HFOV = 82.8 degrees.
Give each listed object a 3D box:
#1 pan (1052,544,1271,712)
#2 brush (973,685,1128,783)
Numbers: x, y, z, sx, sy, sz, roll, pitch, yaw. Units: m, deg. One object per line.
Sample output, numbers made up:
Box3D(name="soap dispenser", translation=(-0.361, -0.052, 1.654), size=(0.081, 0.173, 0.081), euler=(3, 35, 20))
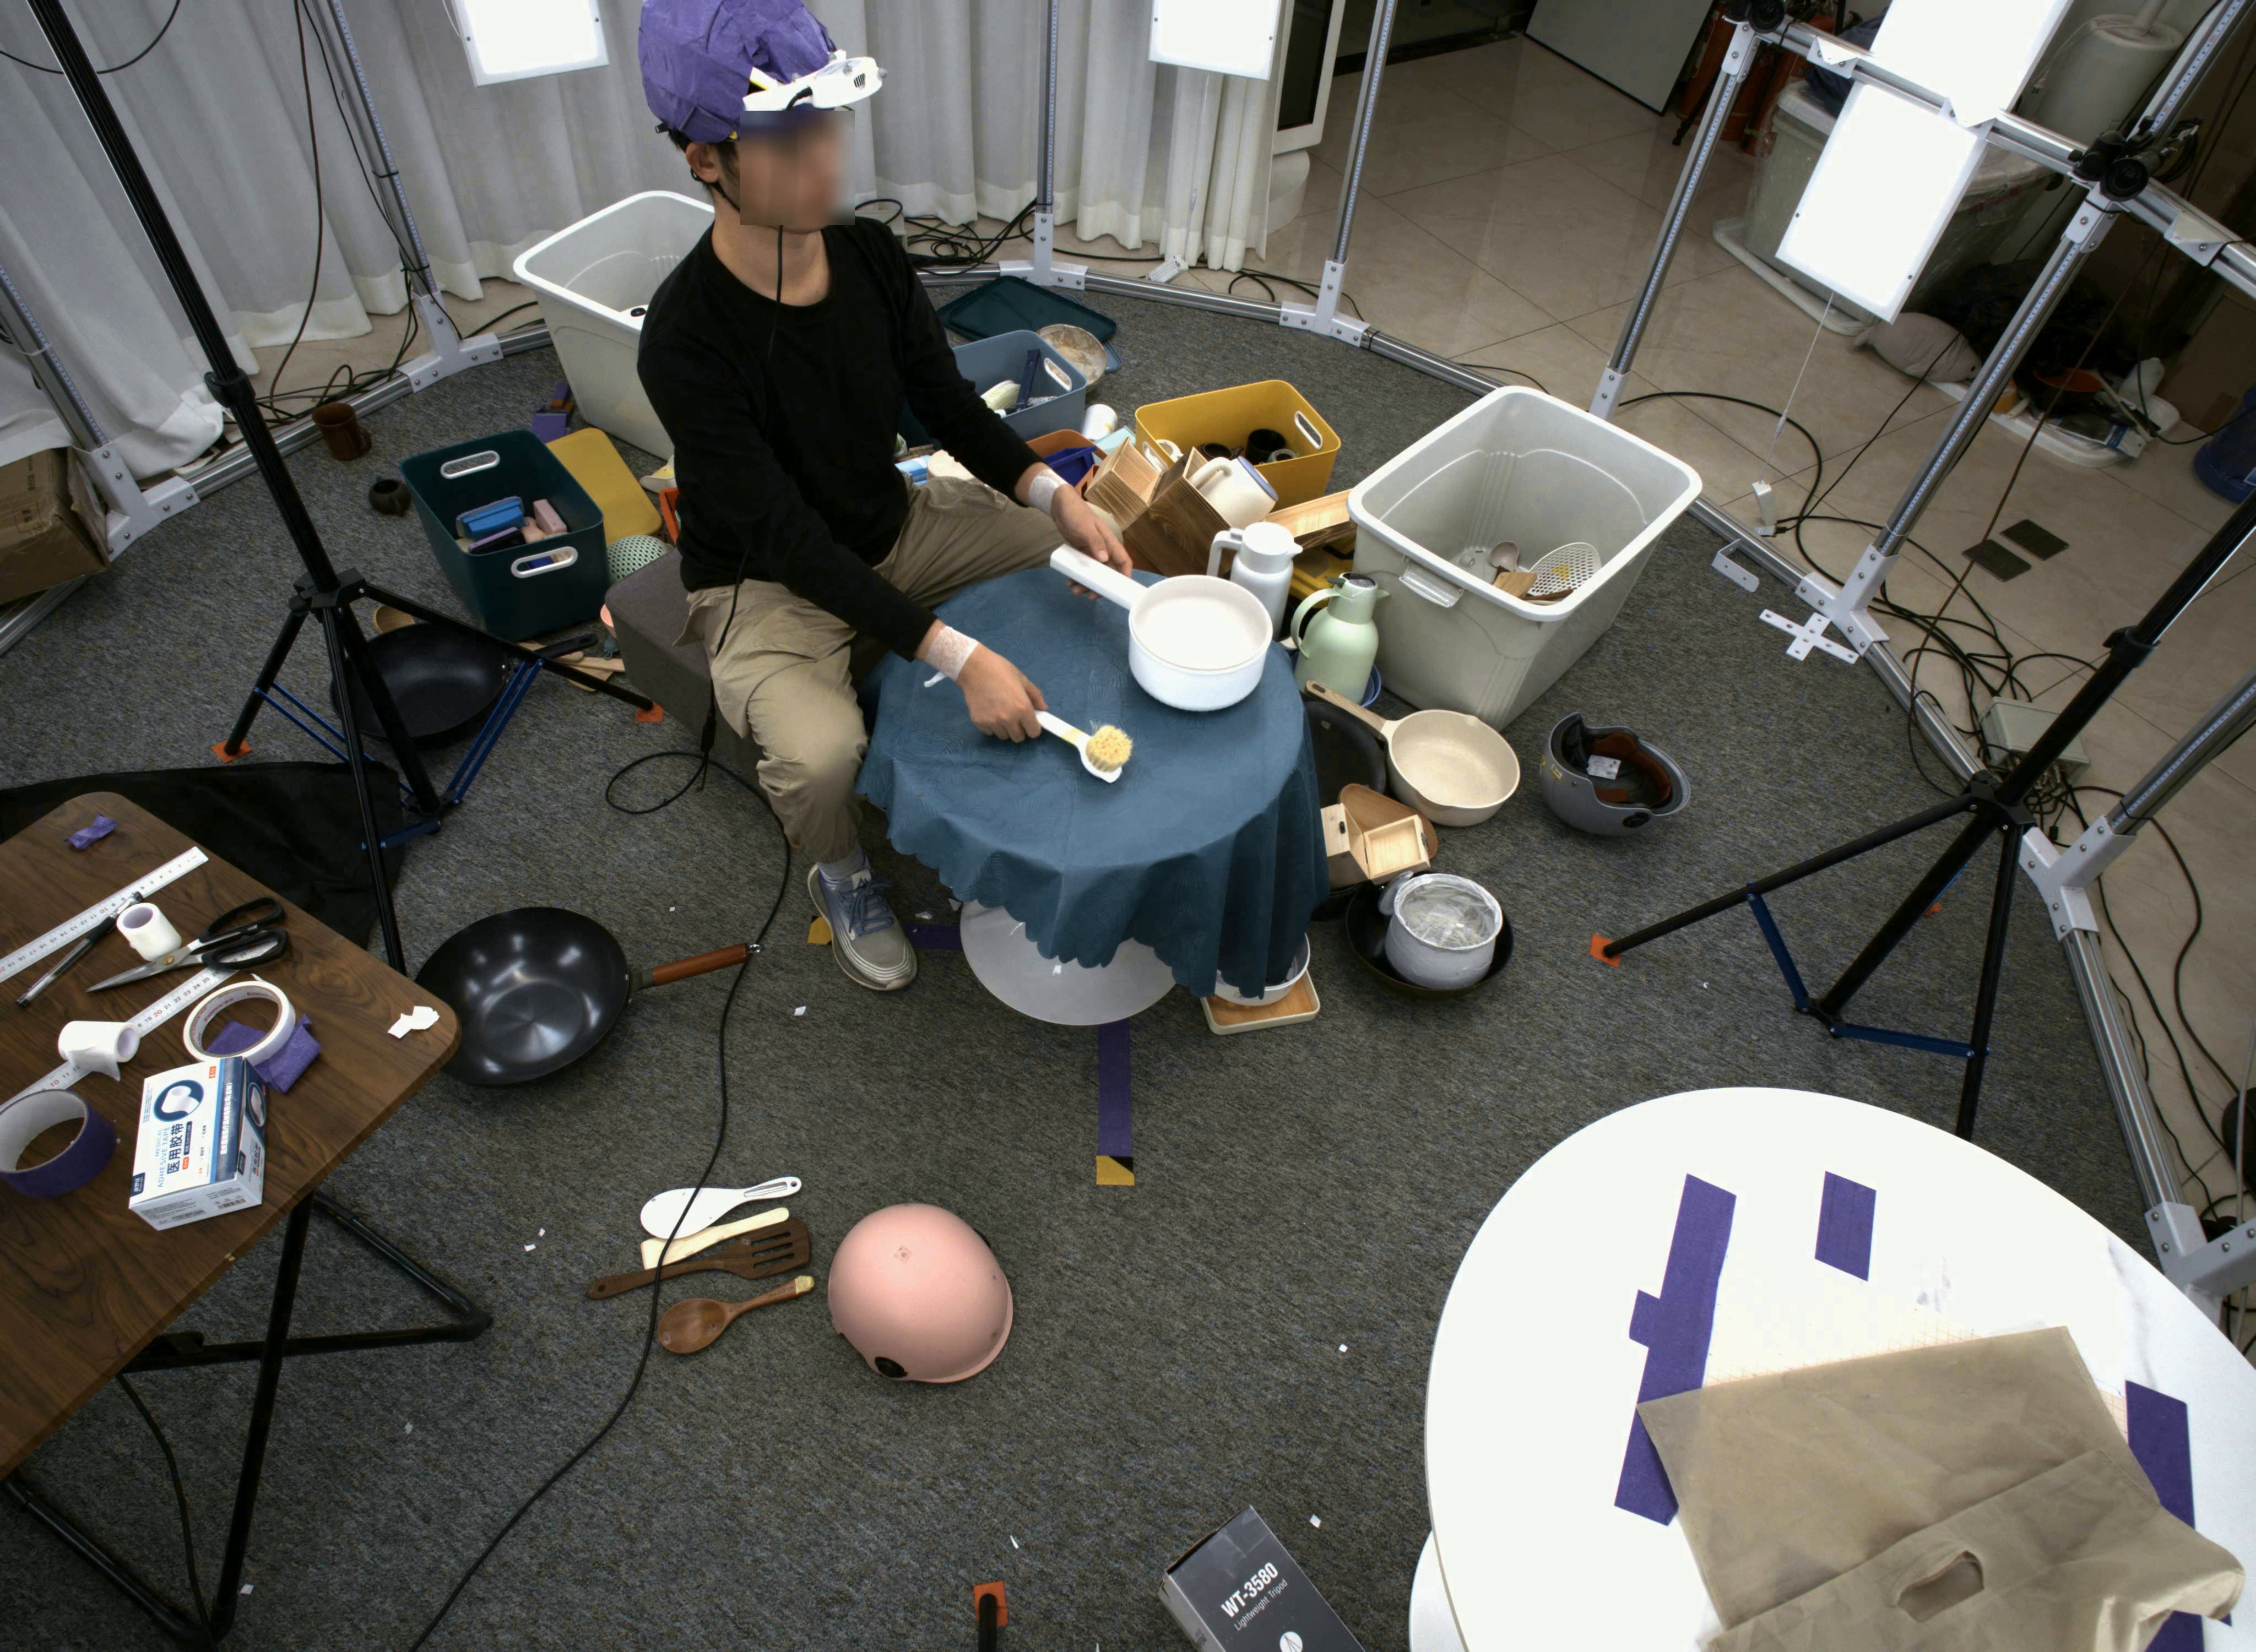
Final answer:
Box3D(name="pan", translation=(0.037, -0.292, 1.864), size=(0.359, 0.099, 0.204), euler=(31, 55, 22))
Box3D(name="brush", translation=(-0.110, -0.146, 1.752), size=(0.270, 0.055, 0.069), euler=(35, 38, 26))
